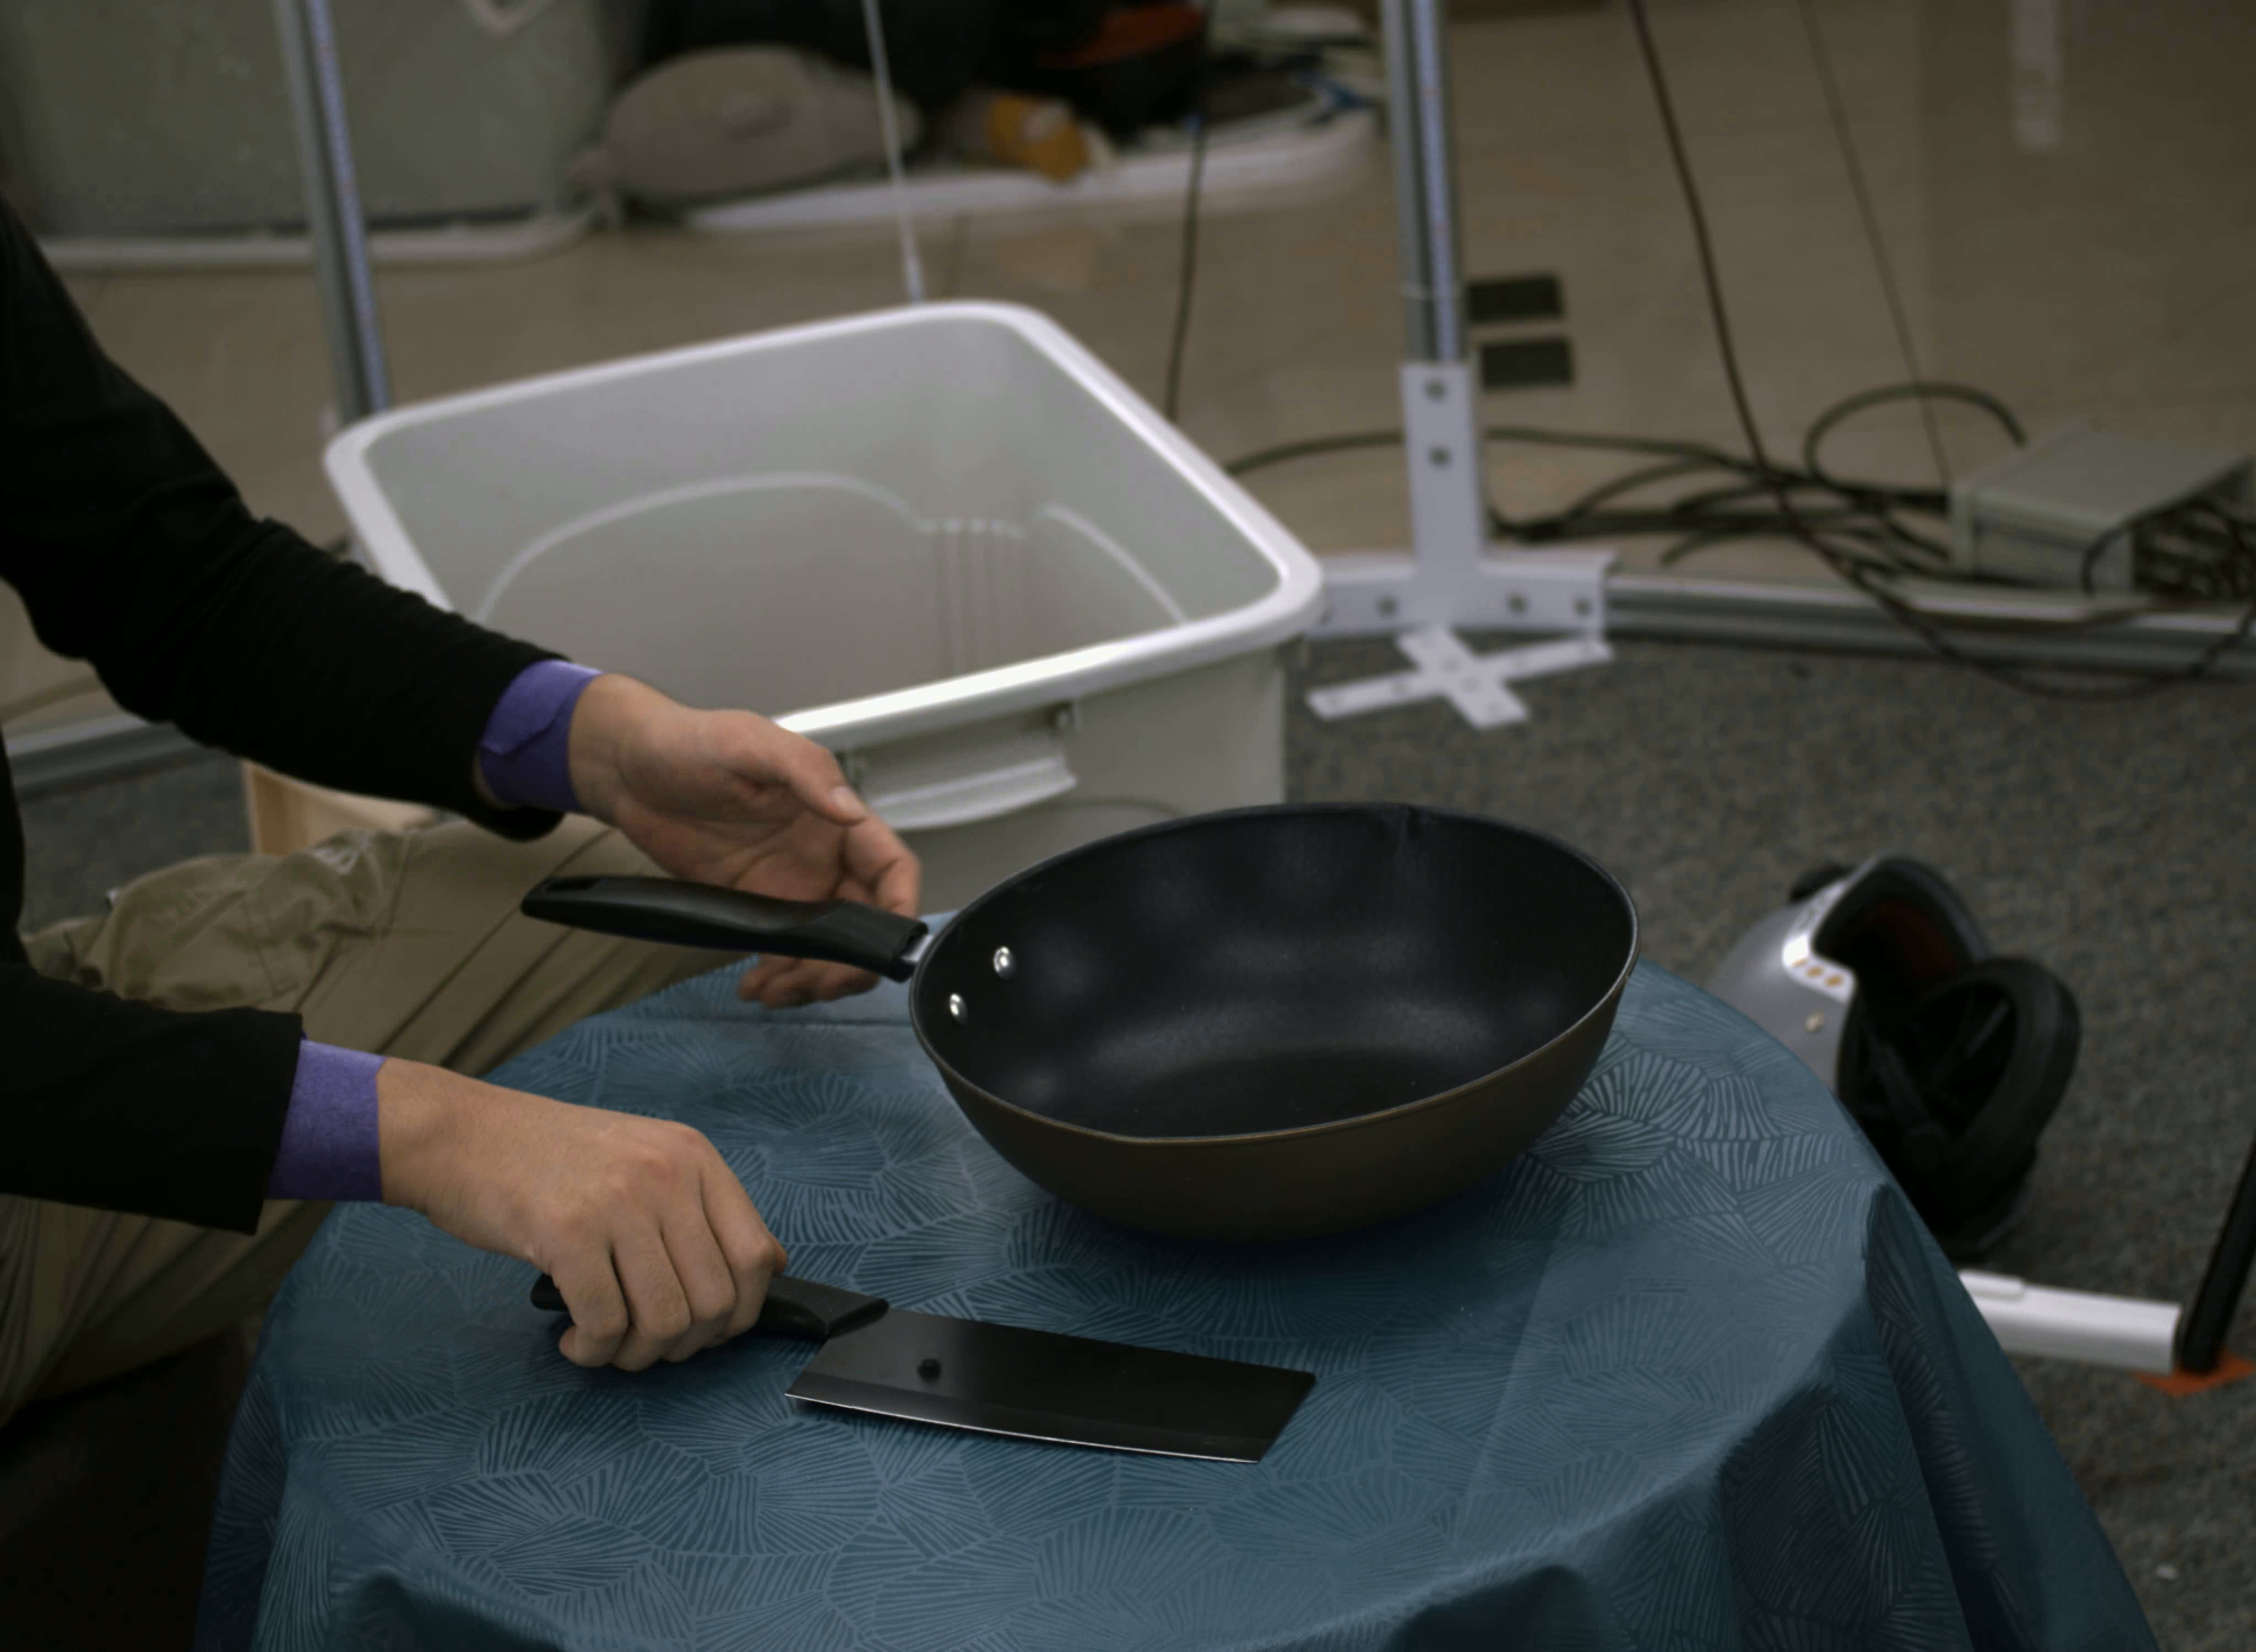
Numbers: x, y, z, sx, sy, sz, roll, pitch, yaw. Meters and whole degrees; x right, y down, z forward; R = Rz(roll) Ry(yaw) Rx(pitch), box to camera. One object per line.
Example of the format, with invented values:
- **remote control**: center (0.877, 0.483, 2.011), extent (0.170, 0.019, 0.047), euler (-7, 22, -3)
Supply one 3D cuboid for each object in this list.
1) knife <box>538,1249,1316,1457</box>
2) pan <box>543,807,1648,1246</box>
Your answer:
- **knife**: center (-0.079, 0.190, 2.044), extent (0.301, 0.021, 0.080), euler (9, 28, 26)
- **pan**: center (-0.022, 0.078, 2.189), extent (0.462, 0.088, 0.284), euler (5, 27, 25)
